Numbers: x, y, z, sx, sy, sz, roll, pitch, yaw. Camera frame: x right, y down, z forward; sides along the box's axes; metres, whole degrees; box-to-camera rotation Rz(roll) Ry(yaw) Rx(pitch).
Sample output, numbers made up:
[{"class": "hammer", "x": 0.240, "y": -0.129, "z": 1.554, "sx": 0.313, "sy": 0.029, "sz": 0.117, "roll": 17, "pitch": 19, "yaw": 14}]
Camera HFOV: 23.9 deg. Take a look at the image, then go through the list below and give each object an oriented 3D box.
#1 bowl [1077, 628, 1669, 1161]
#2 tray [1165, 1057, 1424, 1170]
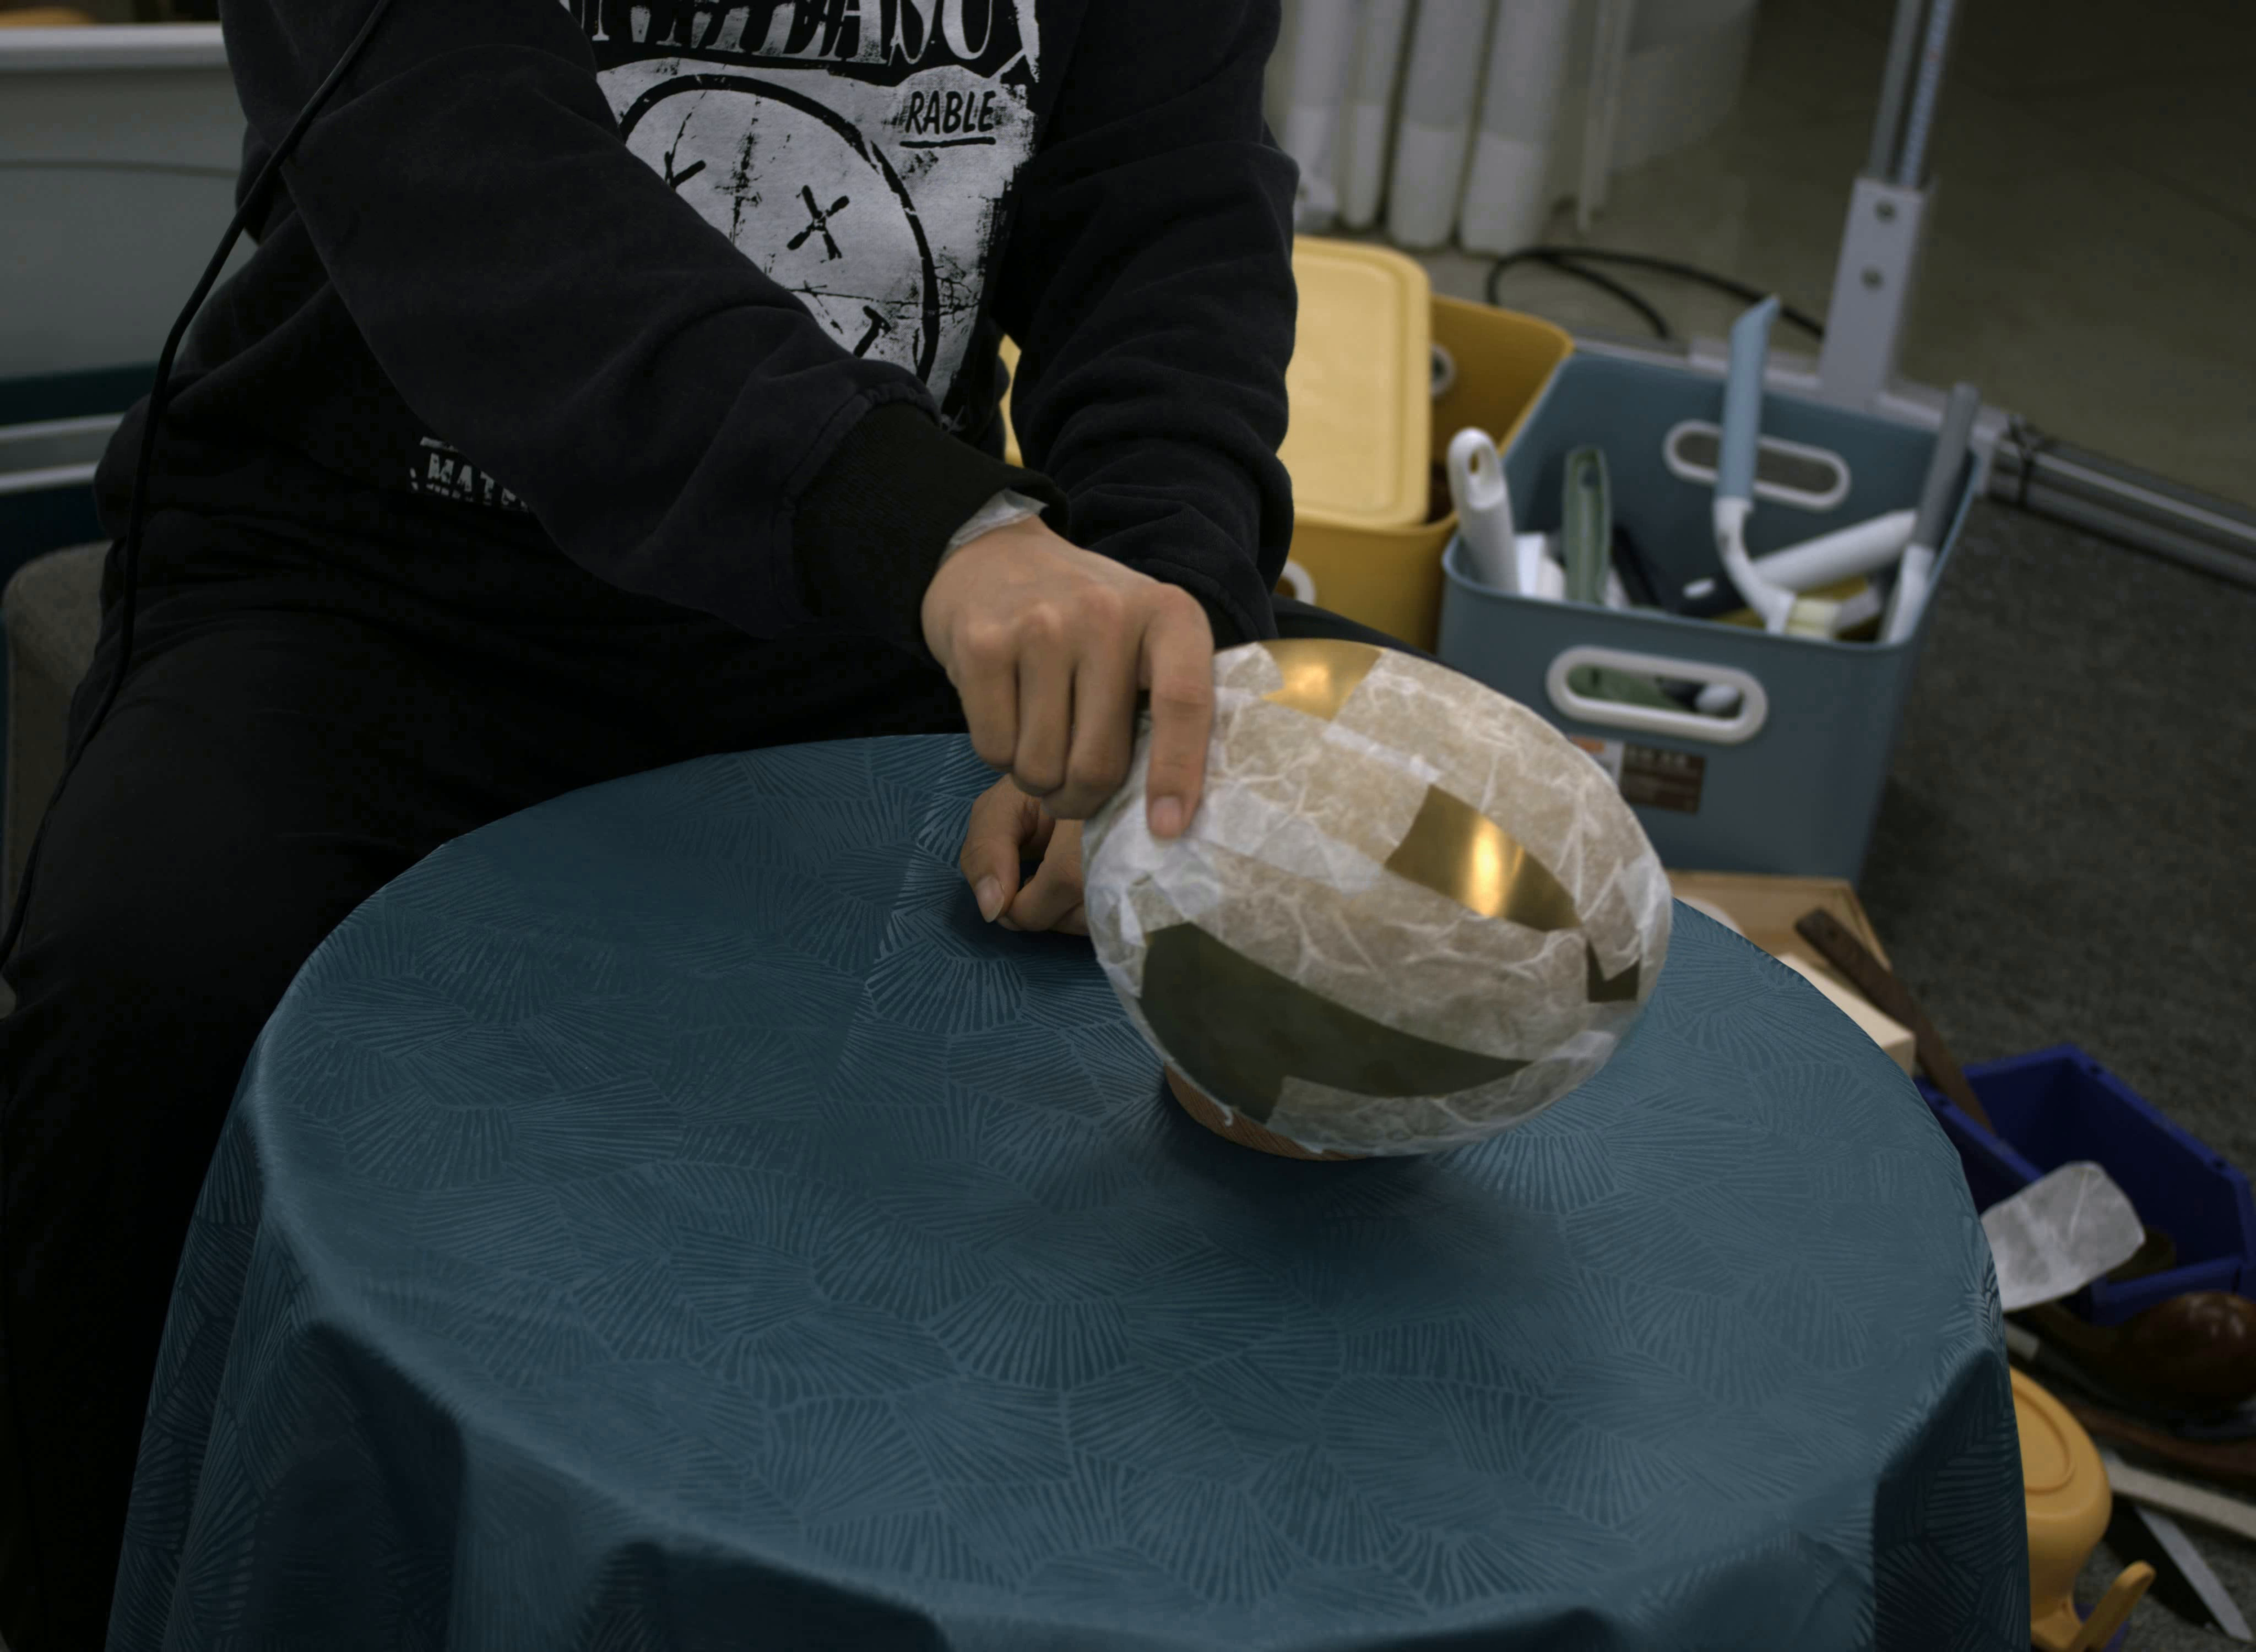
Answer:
[{"class": "bowl", "x": 0.067, "y": 0.044, "z": 1.749, "sx": 0.215, "sy": 0.213, "sz": 0.095, "roll": 15, "pitch": 49, "yaw": 15}, {"class": "tray", "x": 0.094, "y": 0.067, "z": 1.917, "sx": 0.102, "sy": 0.020, "sz": 0.231, "roll": 17, "pitch": 30, "yaw": 24}]
